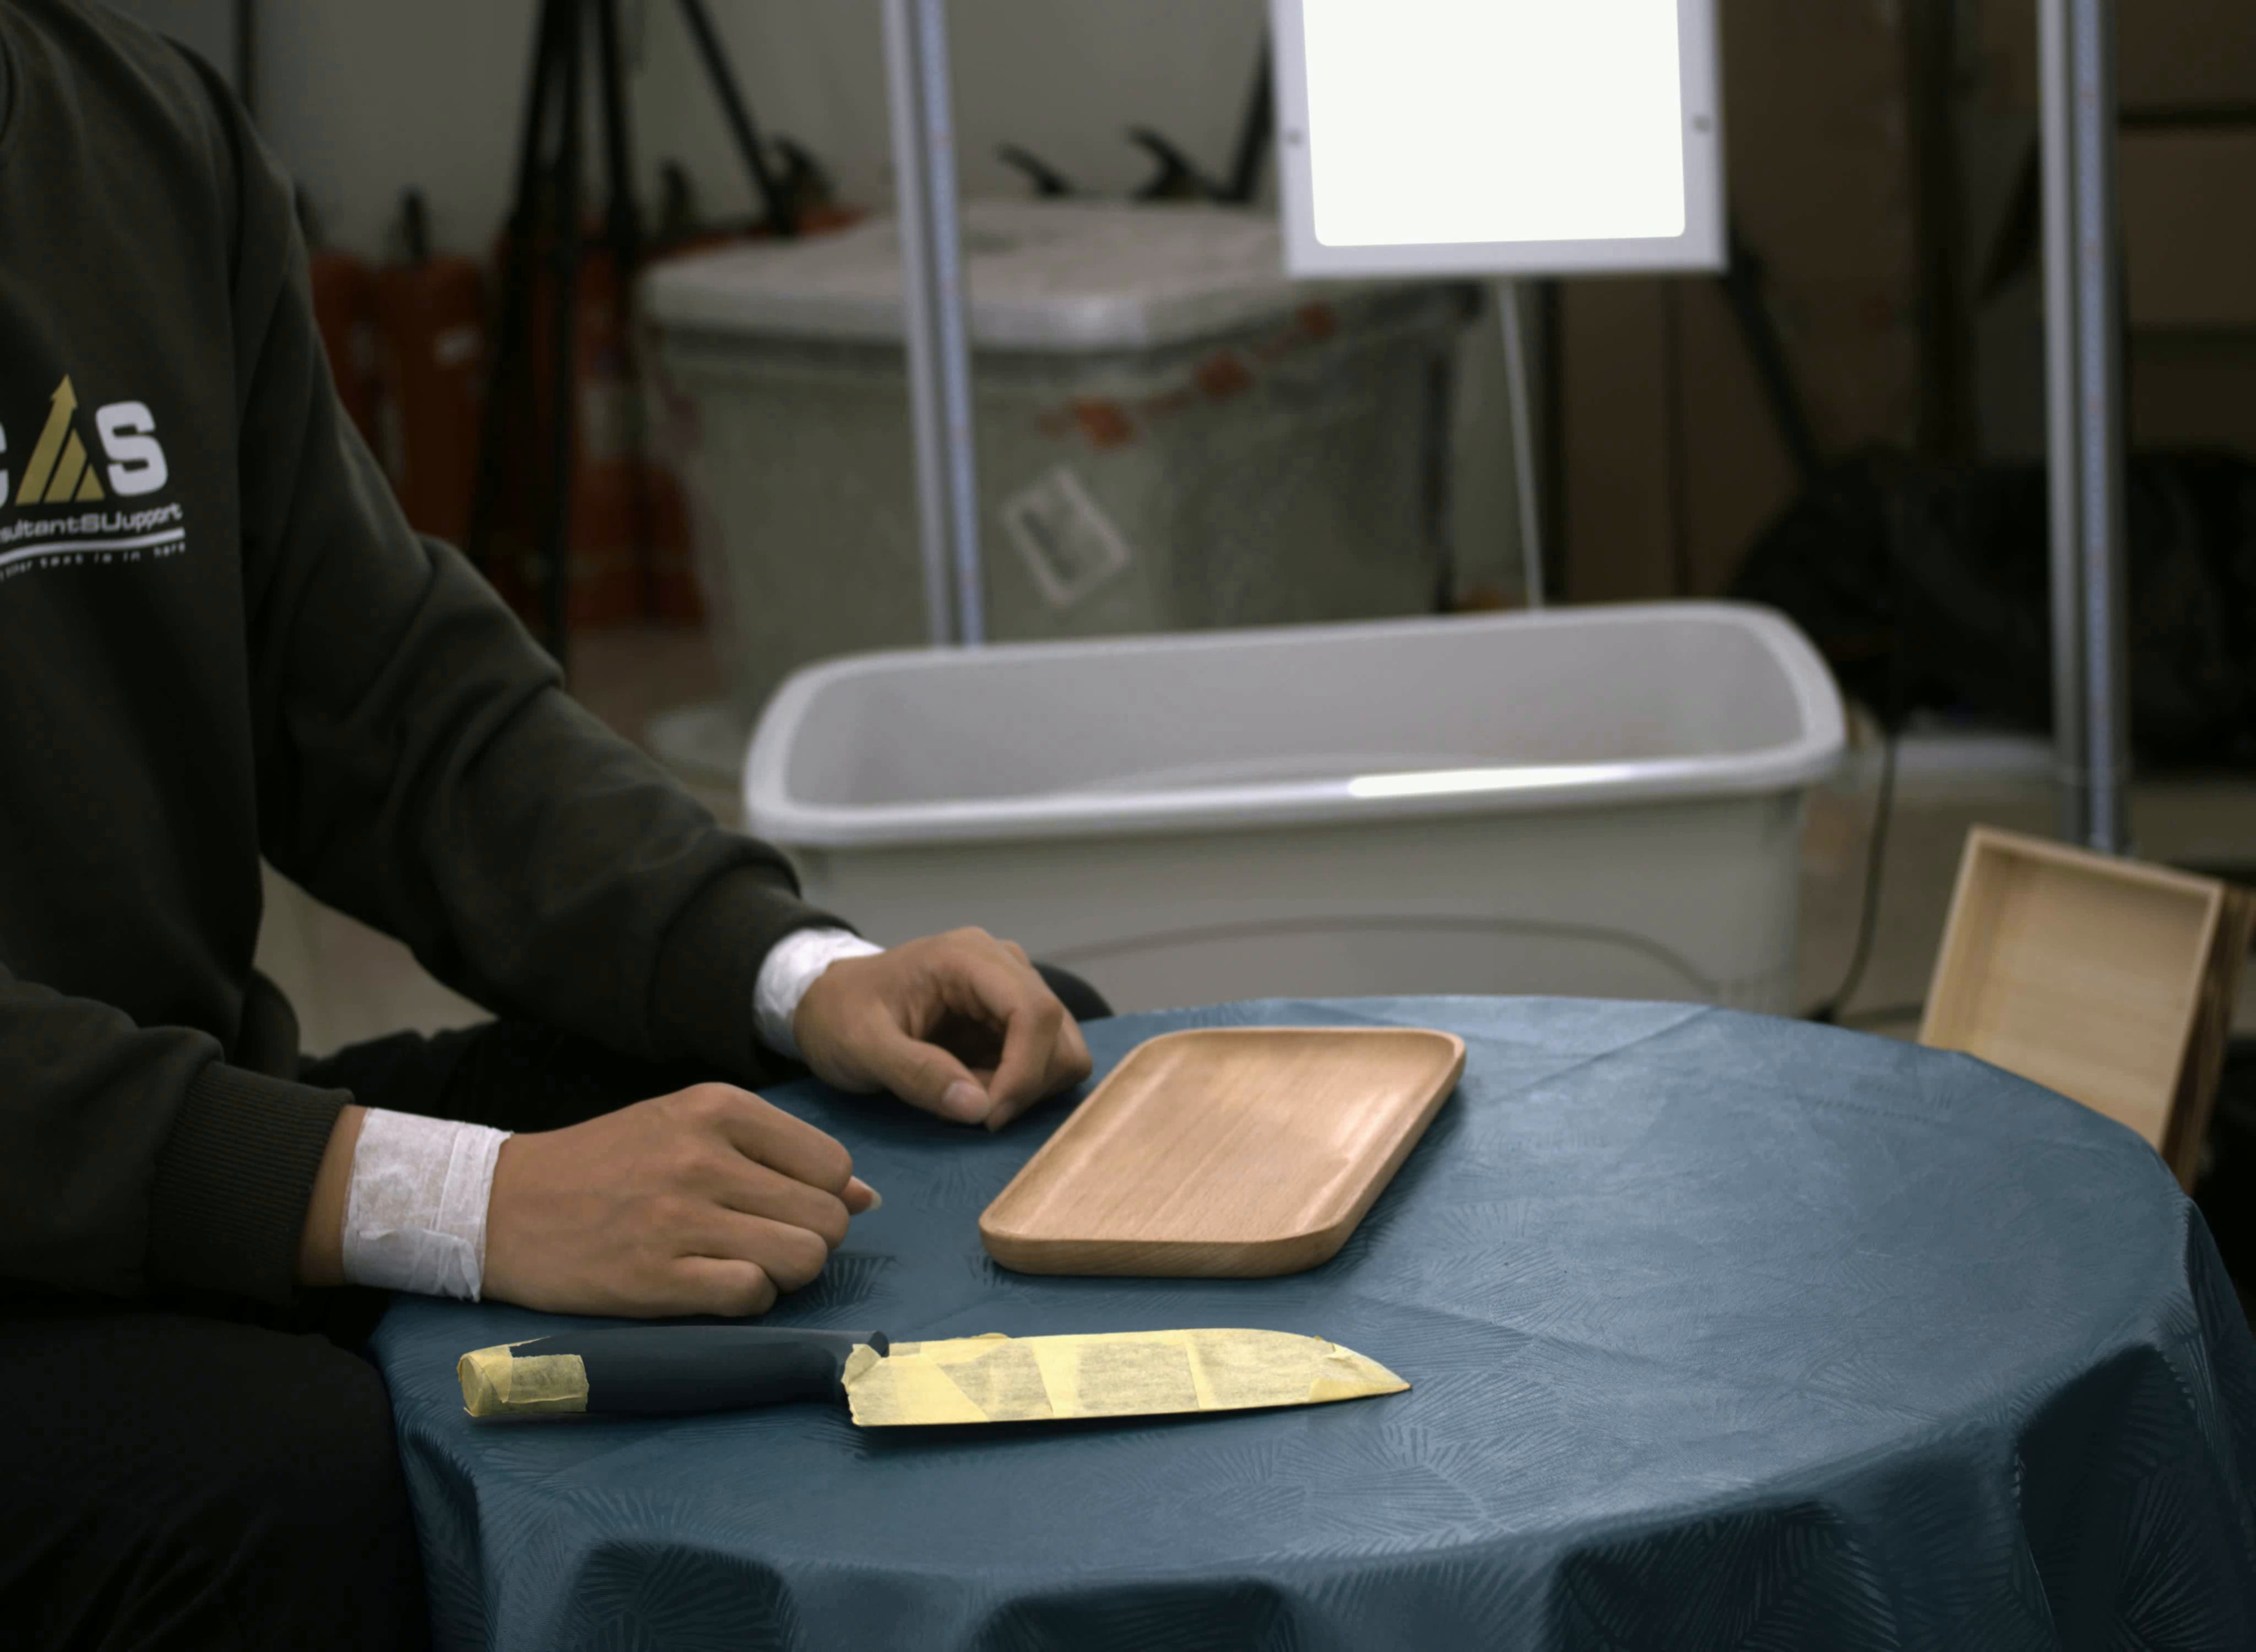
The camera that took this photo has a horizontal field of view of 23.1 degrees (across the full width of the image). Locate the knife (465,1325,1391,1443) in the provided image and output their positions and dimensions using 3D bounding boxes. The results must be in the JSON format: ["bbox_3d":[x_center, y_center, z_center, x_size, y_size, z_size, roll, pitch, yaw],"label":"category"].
[{"bbox_3d":[-0.062,0.173,1.704,0.289,0.027,0.081,-4,12,2],"label":"knife"}]

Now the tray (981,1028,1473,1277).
[{"bbox_3d":[0.039,0.112,1.916,0.132,0.023,0.247,-4,14,18],"label":"tray"}]
